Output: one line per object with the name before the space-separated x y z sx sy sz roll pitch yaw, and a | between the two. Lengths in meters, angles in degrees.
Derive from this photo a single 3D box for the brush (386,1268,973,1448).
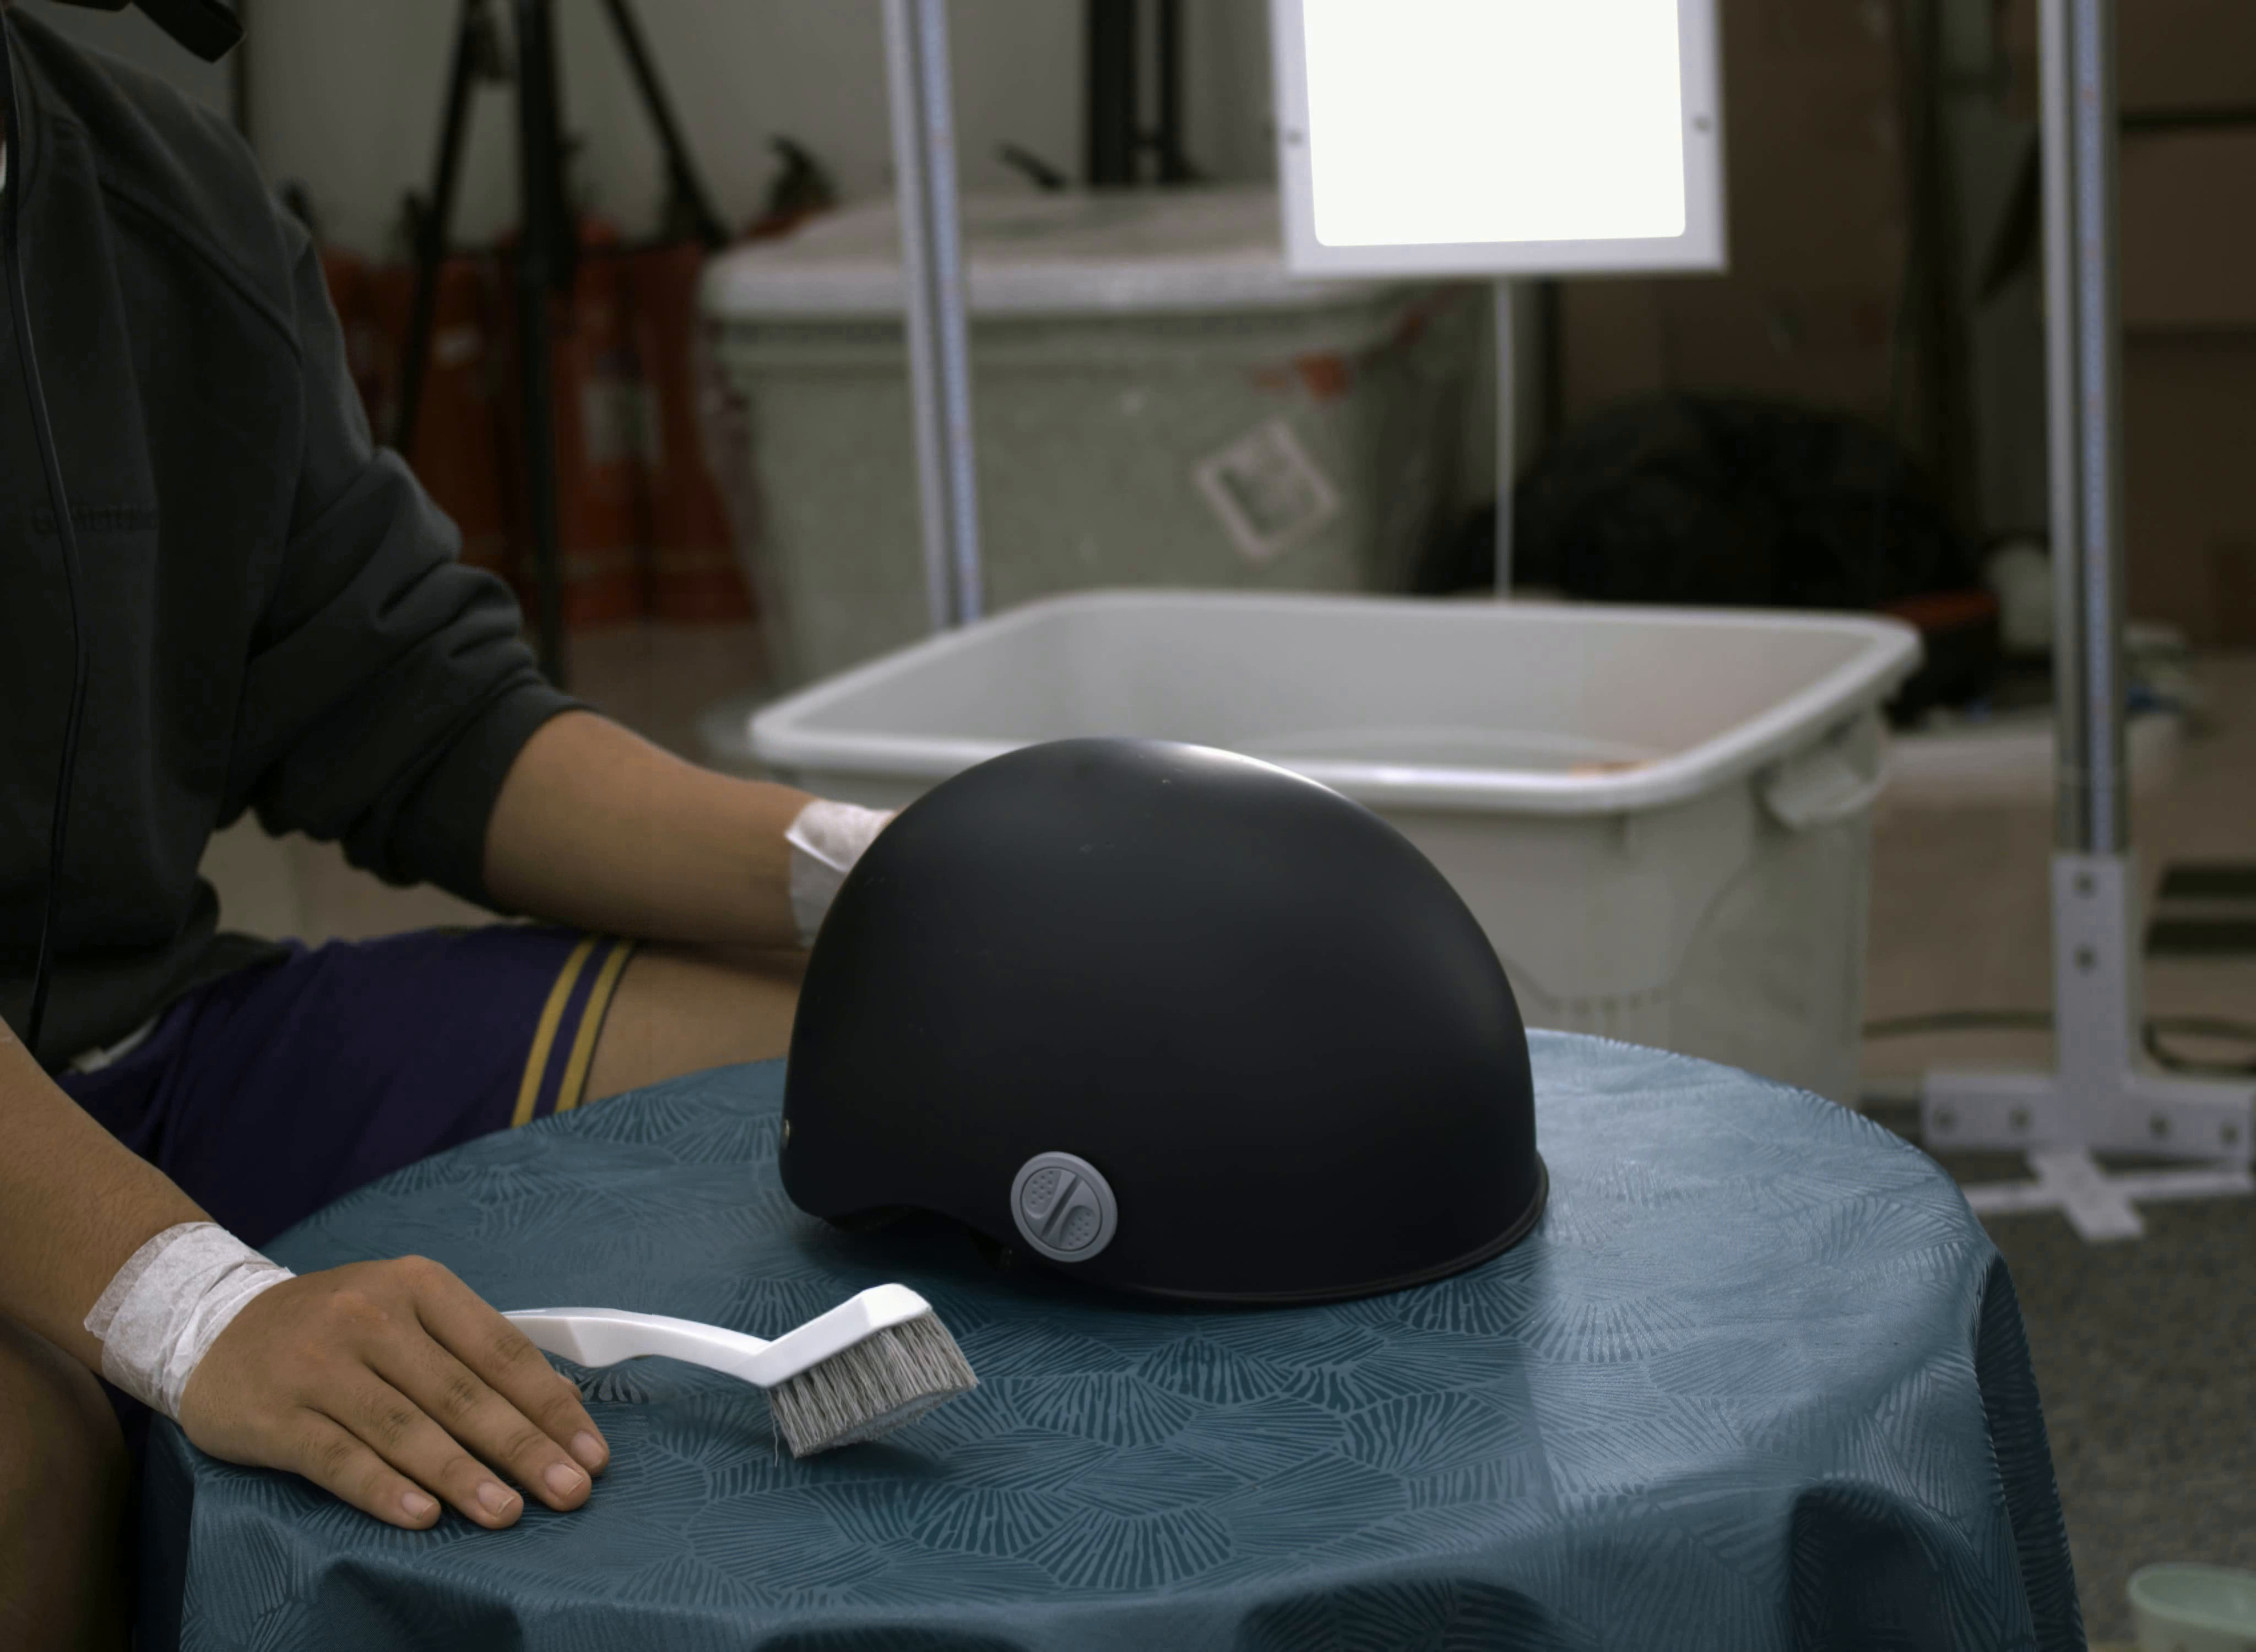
brush | -0.144 0.171 1.717 0.249 0.050 0.033 -10 -2 42

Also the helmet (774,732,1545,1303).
helmet | 0.007 0.055 1.855 0.279 0.167 0.224 9 22 39
